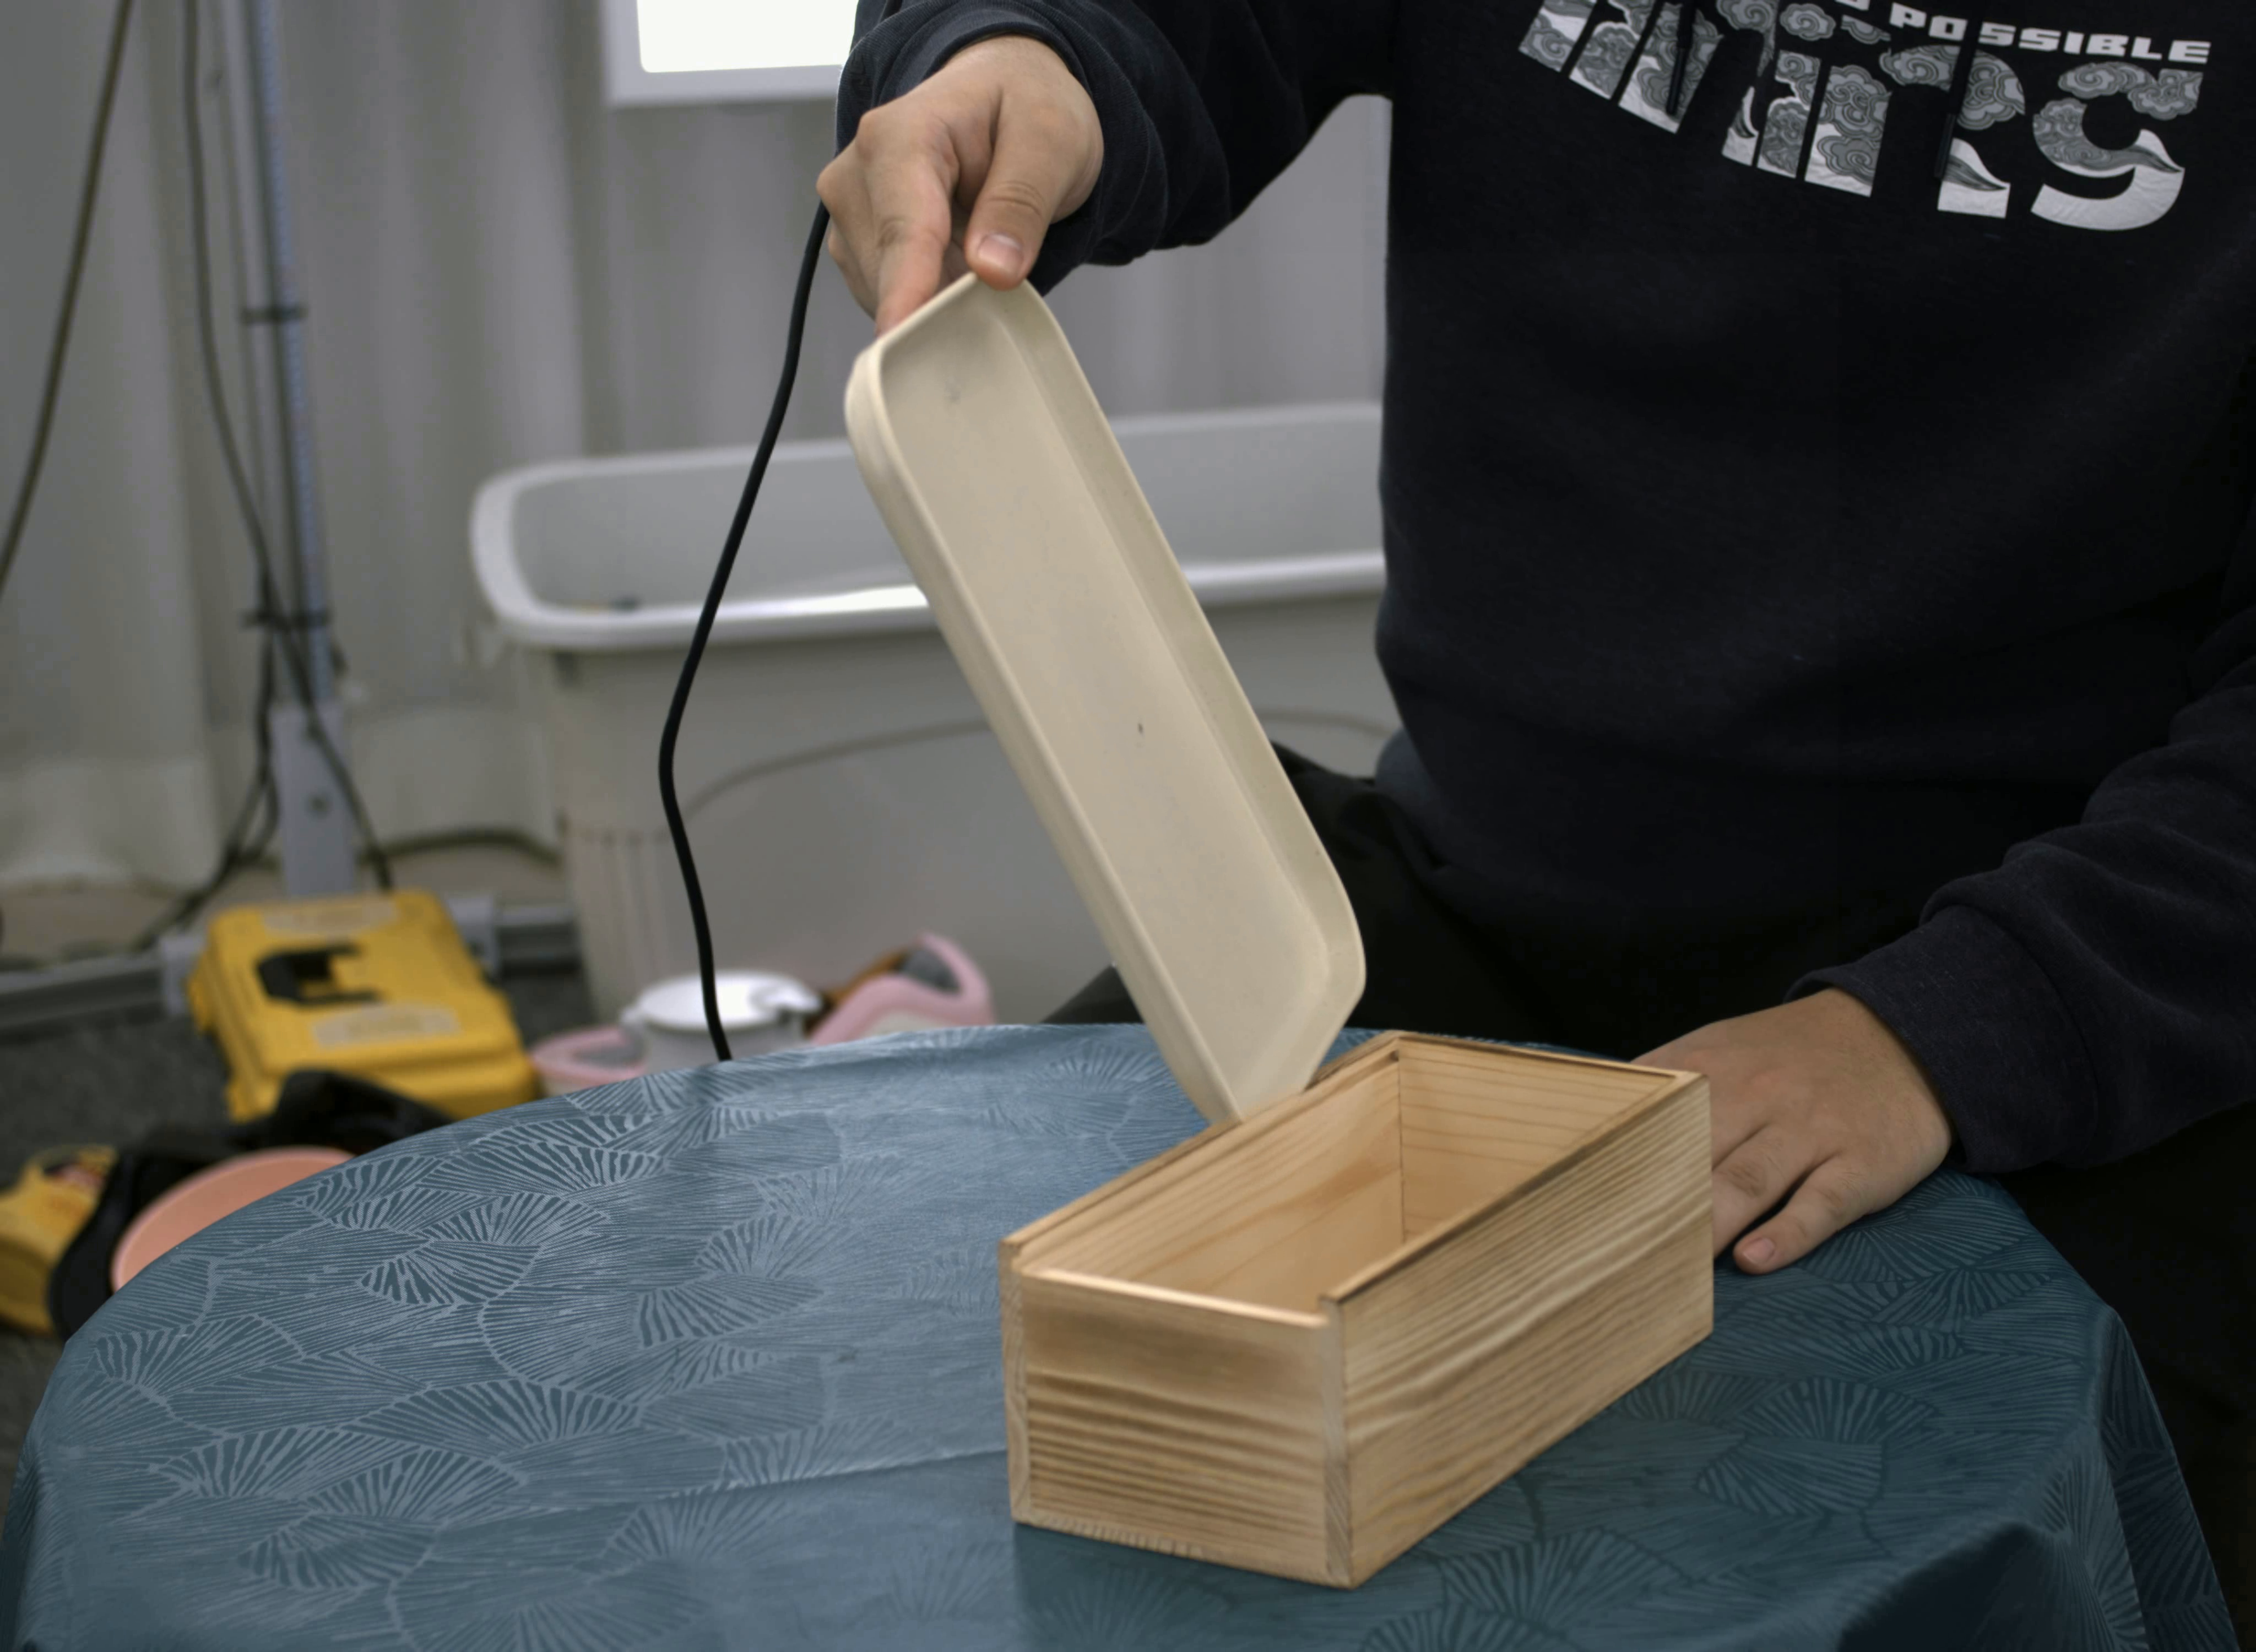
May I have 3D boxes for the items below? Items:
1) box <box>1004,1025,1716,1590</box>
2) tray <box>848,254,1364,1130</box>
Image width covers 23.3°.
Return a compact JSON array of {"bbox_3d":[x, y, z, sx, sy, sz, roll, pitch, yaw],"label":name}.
[{"bbox_3d":[0.068,0.127,1.503,0.108,0.080,0.211,7,17,31],"label":"box"},{"bbox_3d":[-0.005,-0.038,1.514,0.017,0.239,0.172,-25,8,19],"label":"tray"}]
